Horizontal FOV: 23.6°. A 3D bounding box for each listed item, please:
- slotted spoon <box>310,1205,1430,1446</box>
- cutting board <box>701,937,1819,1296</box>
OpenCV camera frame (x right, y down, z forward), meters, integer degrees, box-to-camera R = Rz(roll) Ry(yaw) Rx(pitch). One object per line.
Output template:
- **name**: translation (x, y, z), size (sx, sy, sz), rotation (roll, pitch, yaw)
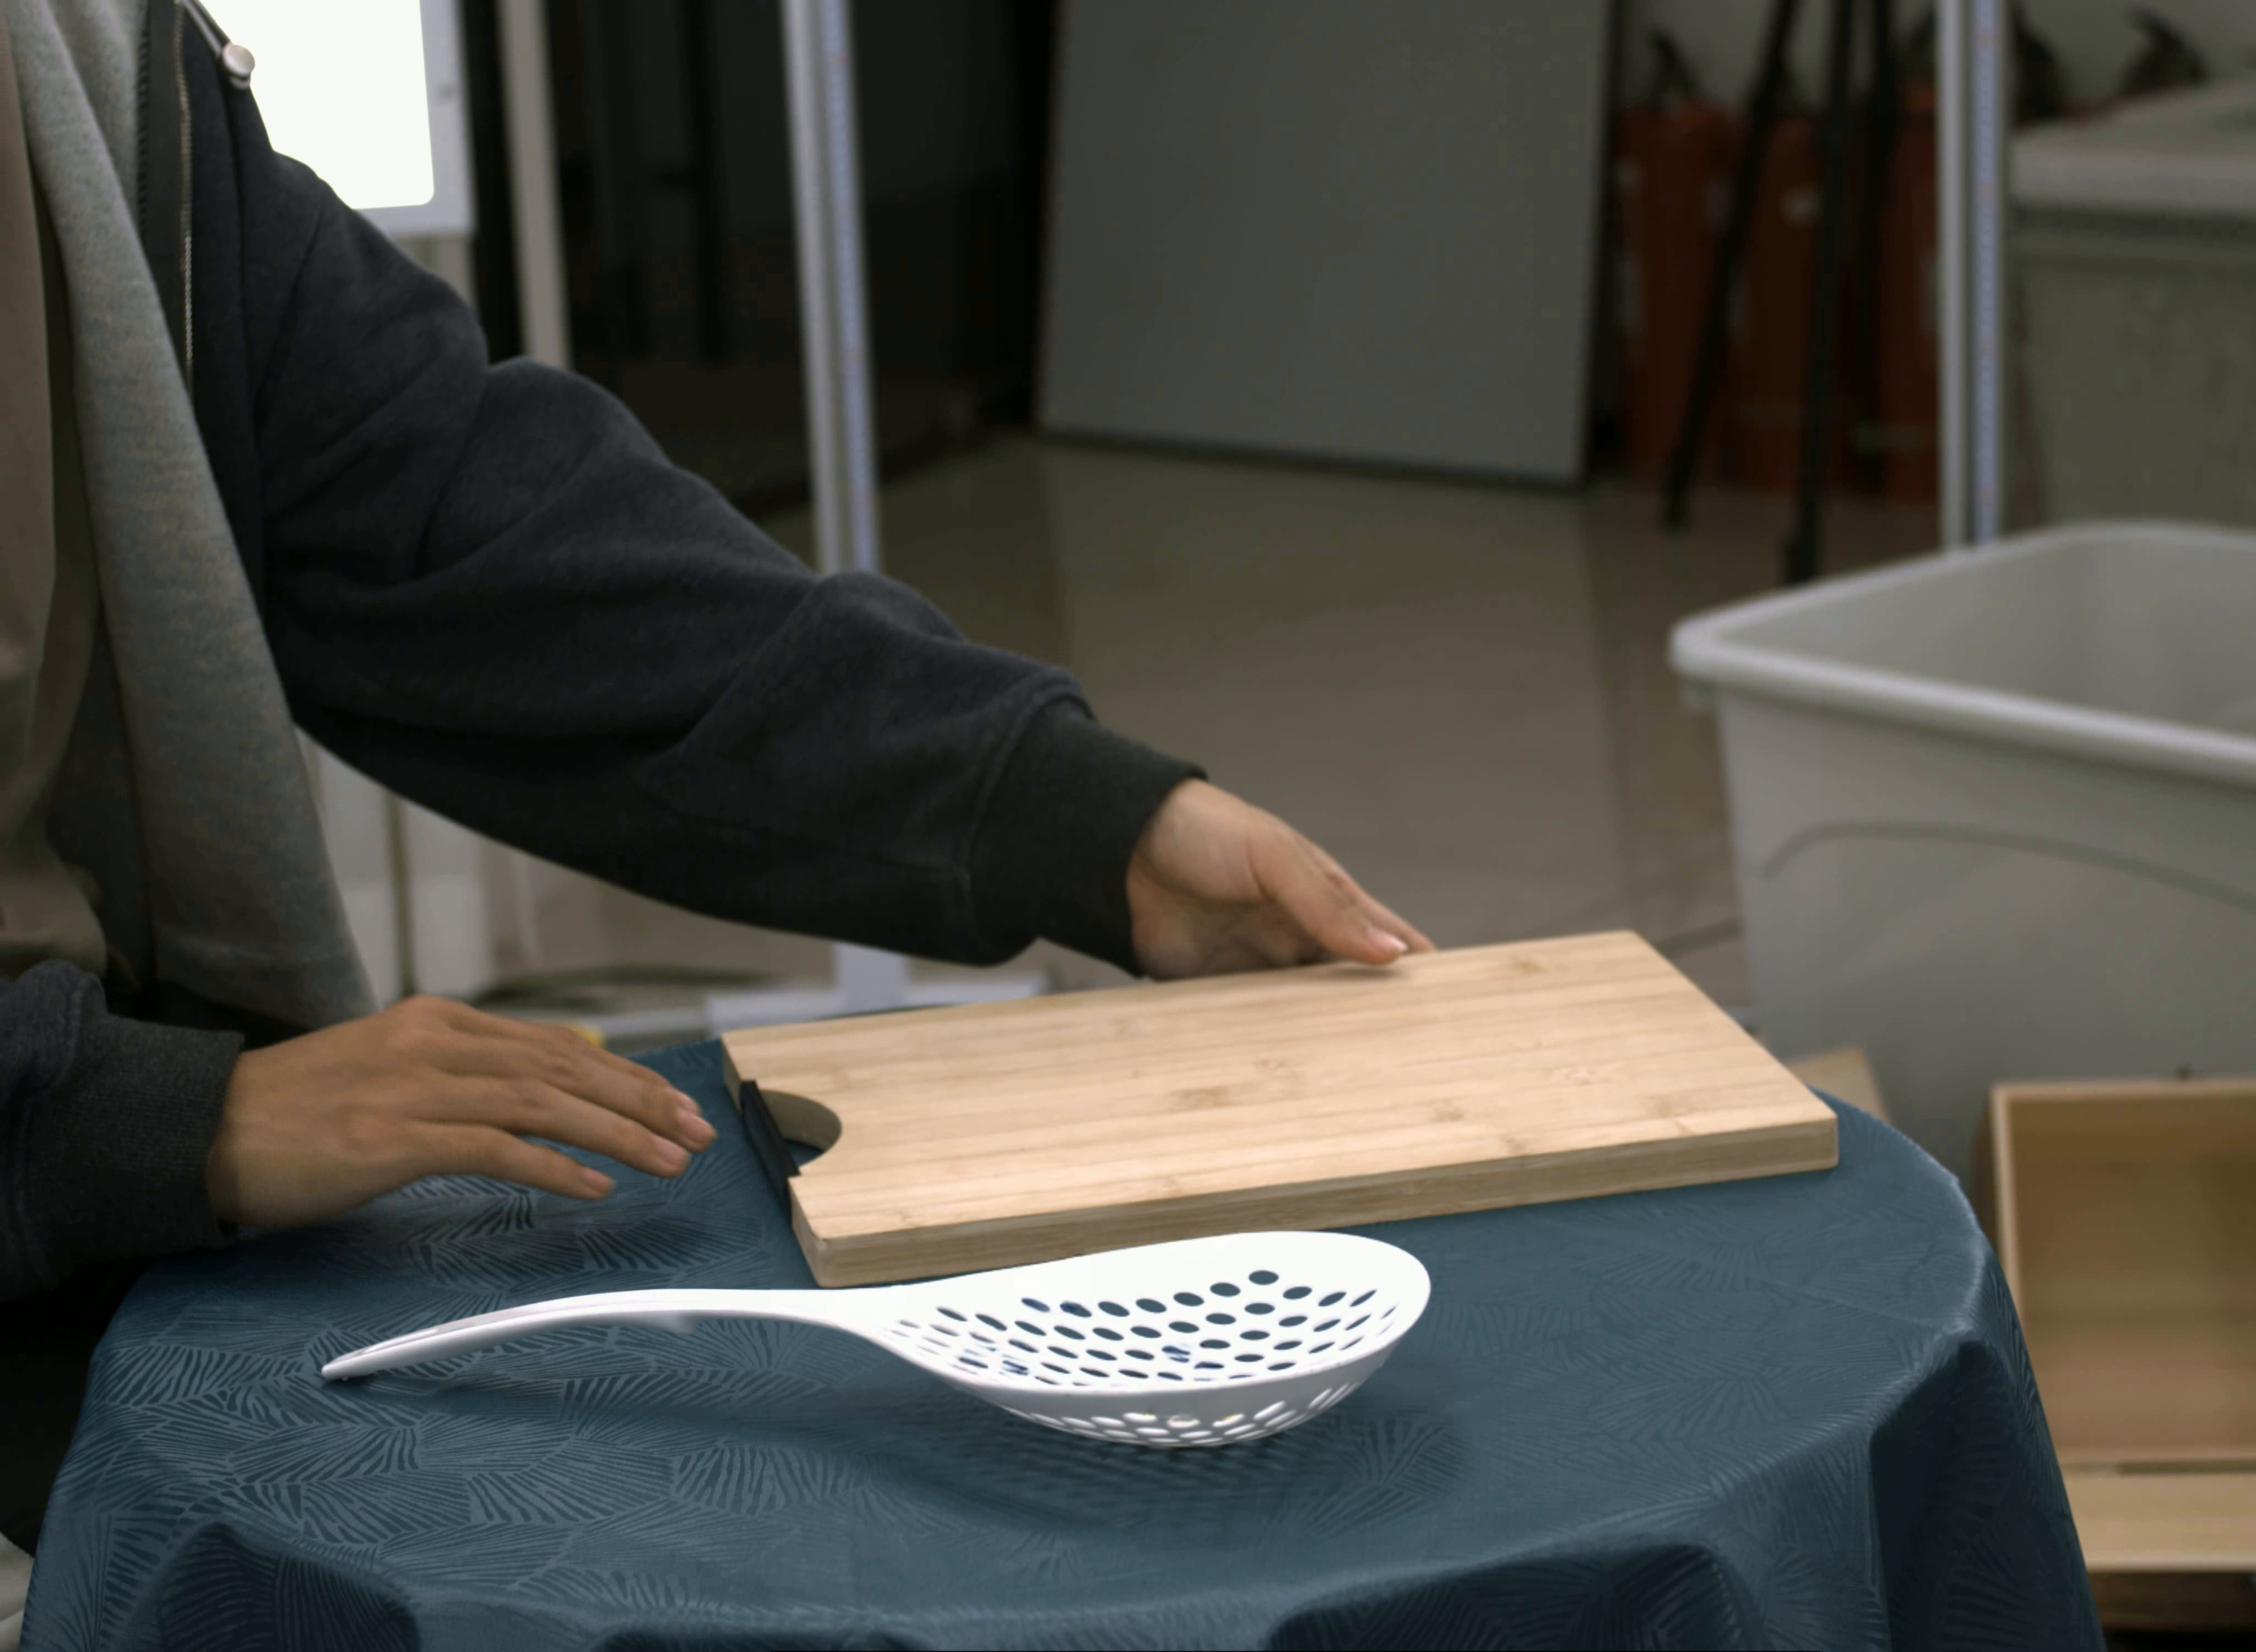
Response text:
- **slotted spoon**: translation (-0.080, 0.151, 1.579), size (0.347, 0.051, 0.135), rotation (1, 16, 19)
- **cutting board**: translation (0.039, 0.095, 1.829), size (0.342, 0.024, 0.252), rotation (-7, 14, -10)
